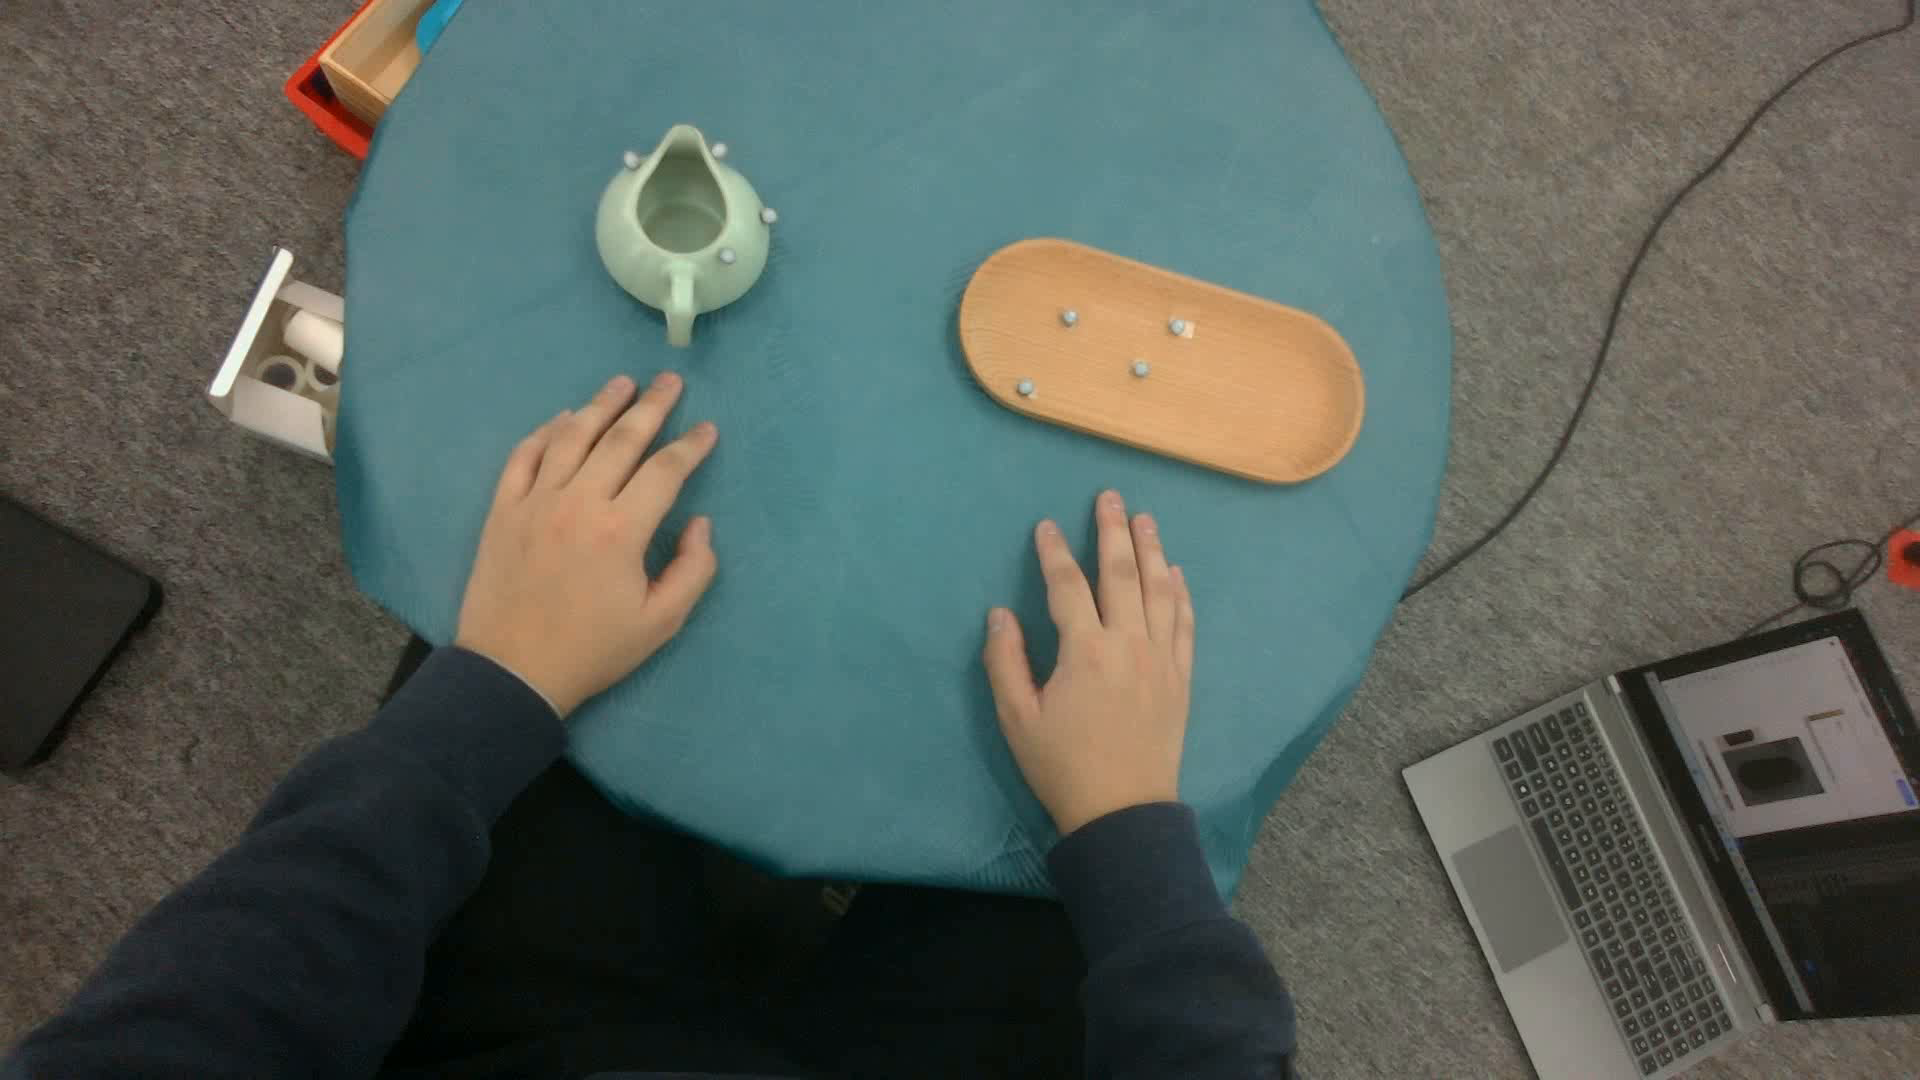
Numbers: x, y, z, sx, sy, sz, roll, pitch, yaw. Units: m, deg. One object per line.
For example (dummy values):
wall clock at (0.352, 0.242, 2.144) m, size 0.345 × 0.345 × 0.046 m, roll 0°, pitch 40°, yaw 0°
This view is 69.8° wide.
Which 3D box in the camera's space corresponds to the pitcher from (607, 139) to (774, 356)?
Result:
pitcher at (-0.139, -0.146, 0.712) m, size 0.086 × 0.060 × 0.108 m, roll -1°, pitch 82°, yaw -9°

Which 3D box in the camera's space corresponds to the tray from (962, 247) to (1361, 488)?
tray at (0.113, -0.095, 0.766) m, size 0.231 × 0.020 × 0.102 m, roll 15°, pitch 78°, yaw -8°
